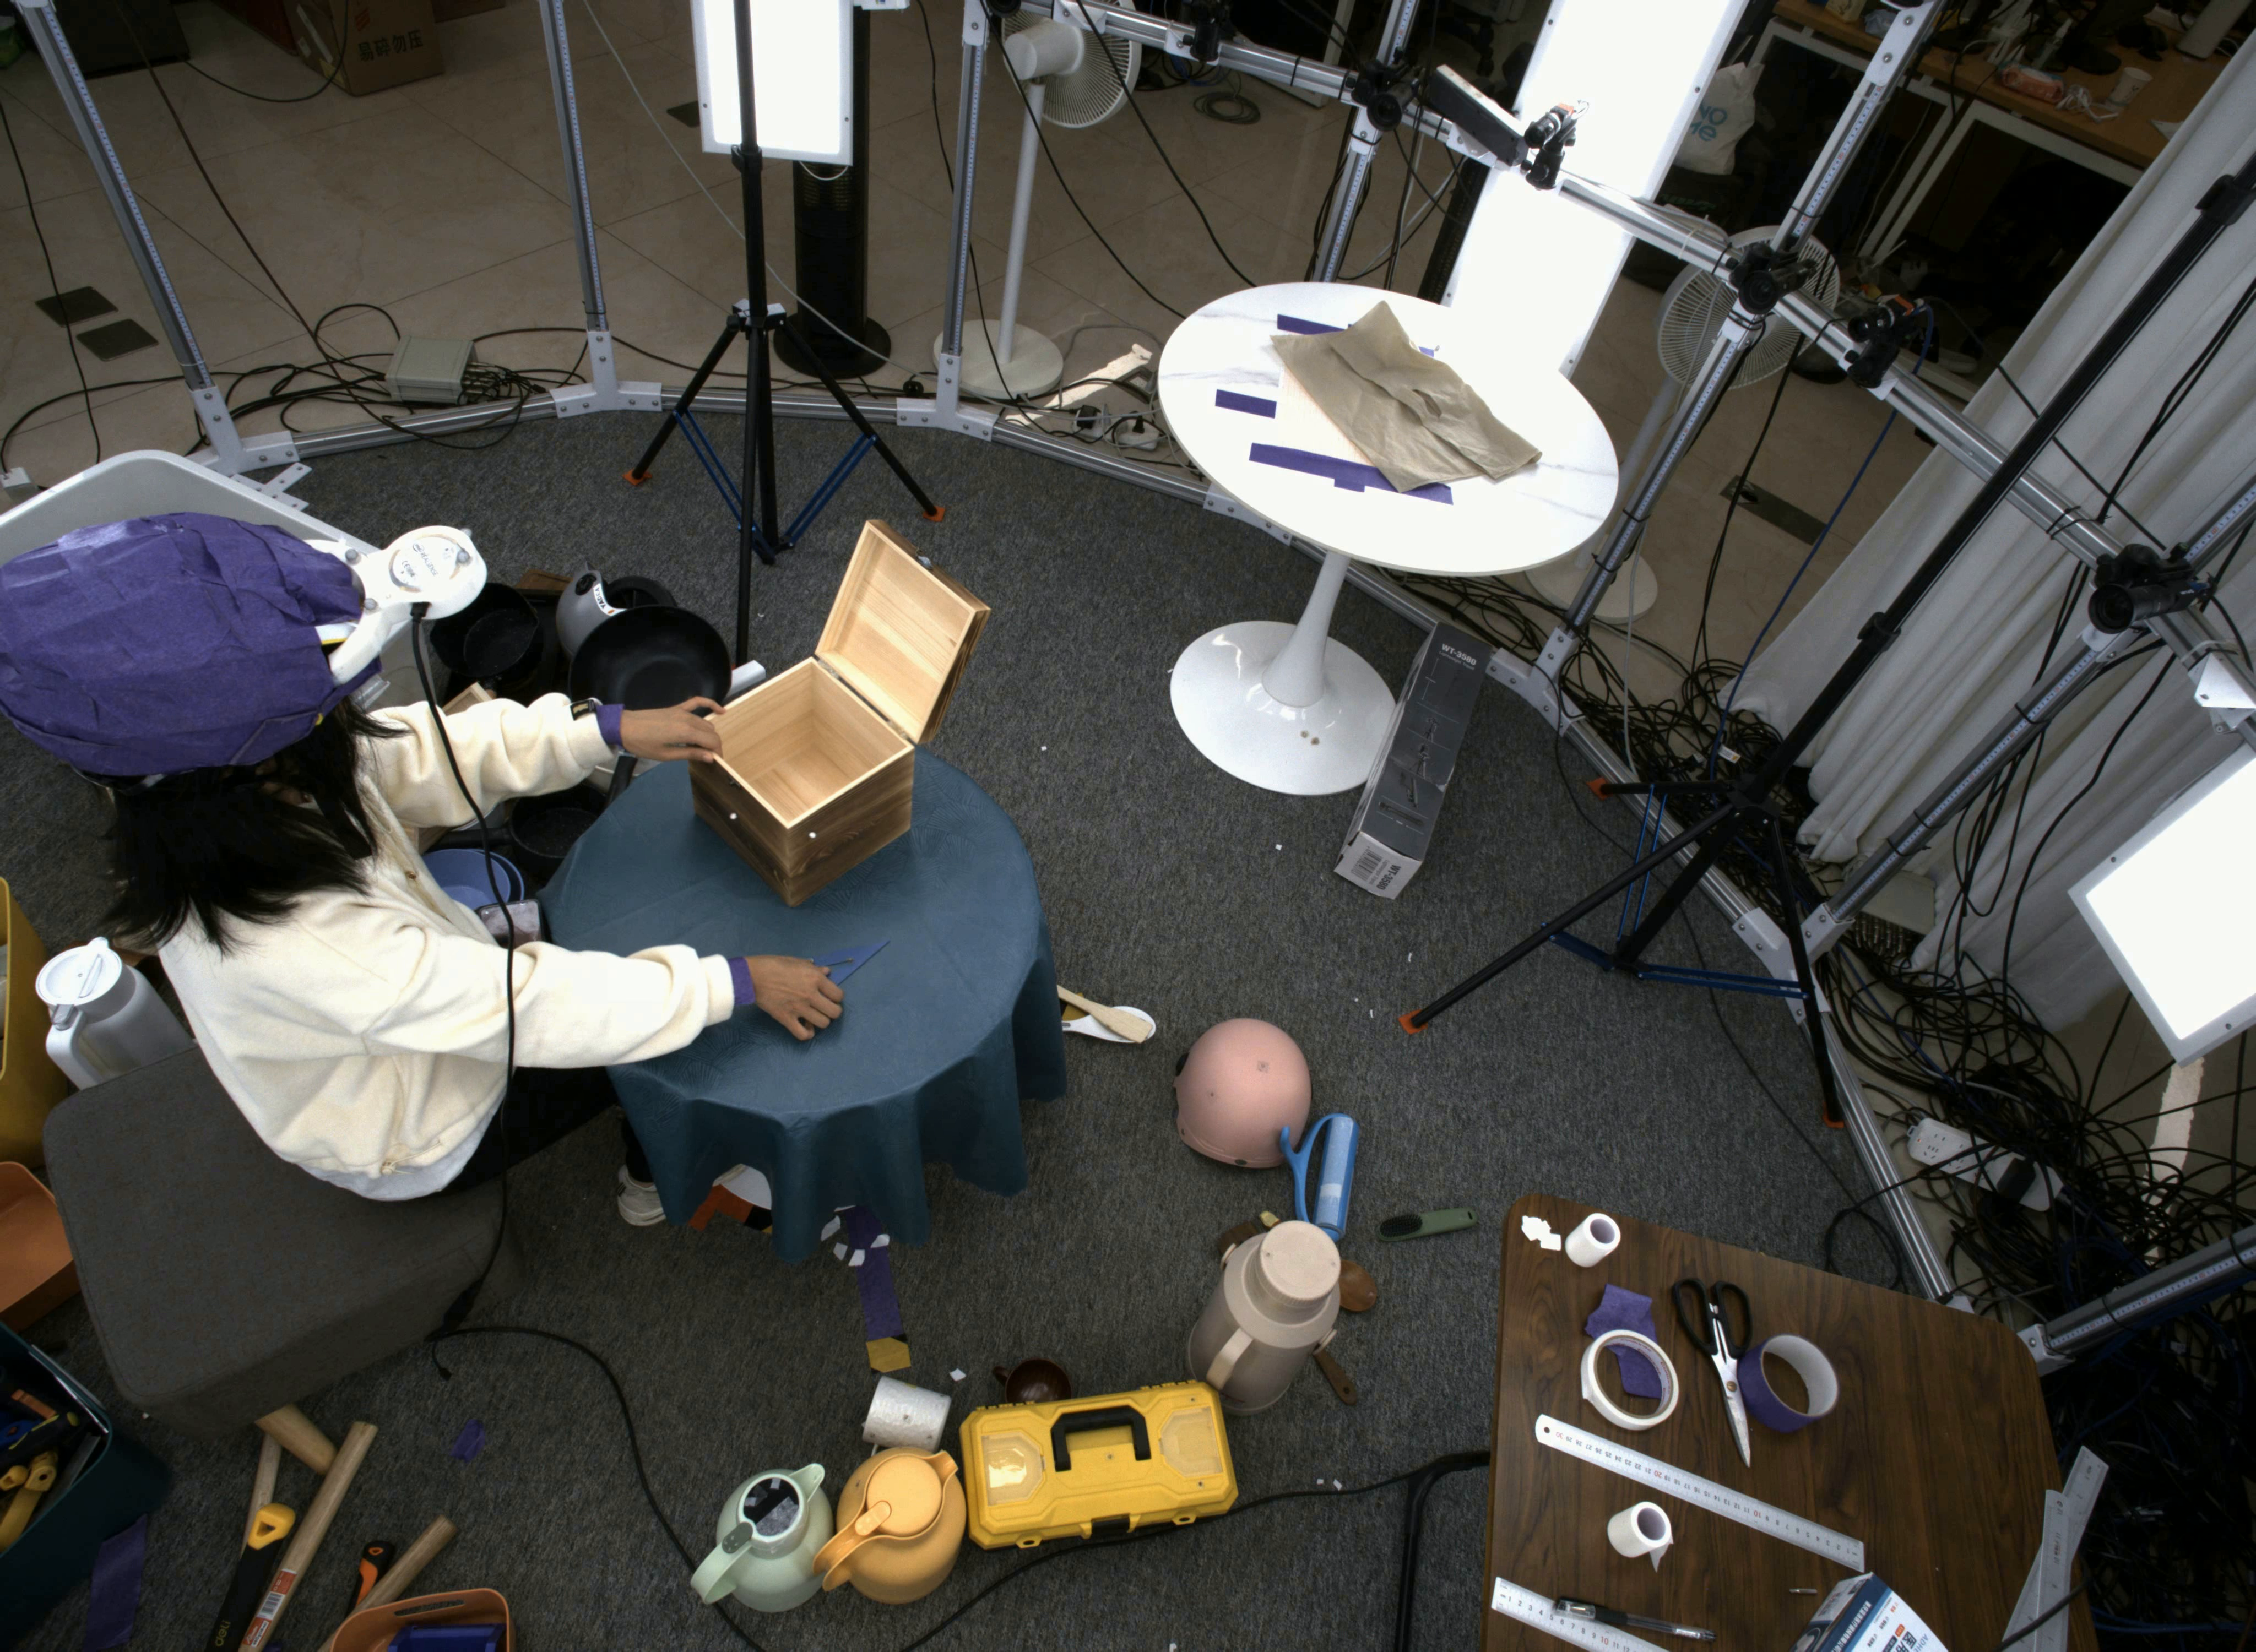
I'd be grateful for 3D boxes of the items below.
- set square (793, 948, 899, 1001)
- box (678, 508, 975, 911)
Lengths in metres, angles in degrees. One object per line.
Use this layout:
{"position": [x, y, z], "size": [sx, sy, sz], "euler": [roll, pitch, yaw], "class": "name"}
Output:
{"position": [-0.343, 0.181, 1.602], "size": [0.132, 0.007, 0.059], "euler": [-9, 54, -21], "class": "set square"}
{"position": [-0.374, -0.147, 1.612], "size": [0.204, 0.383, 0.323], "euler": [38, 53, 19], "class": "box"}
